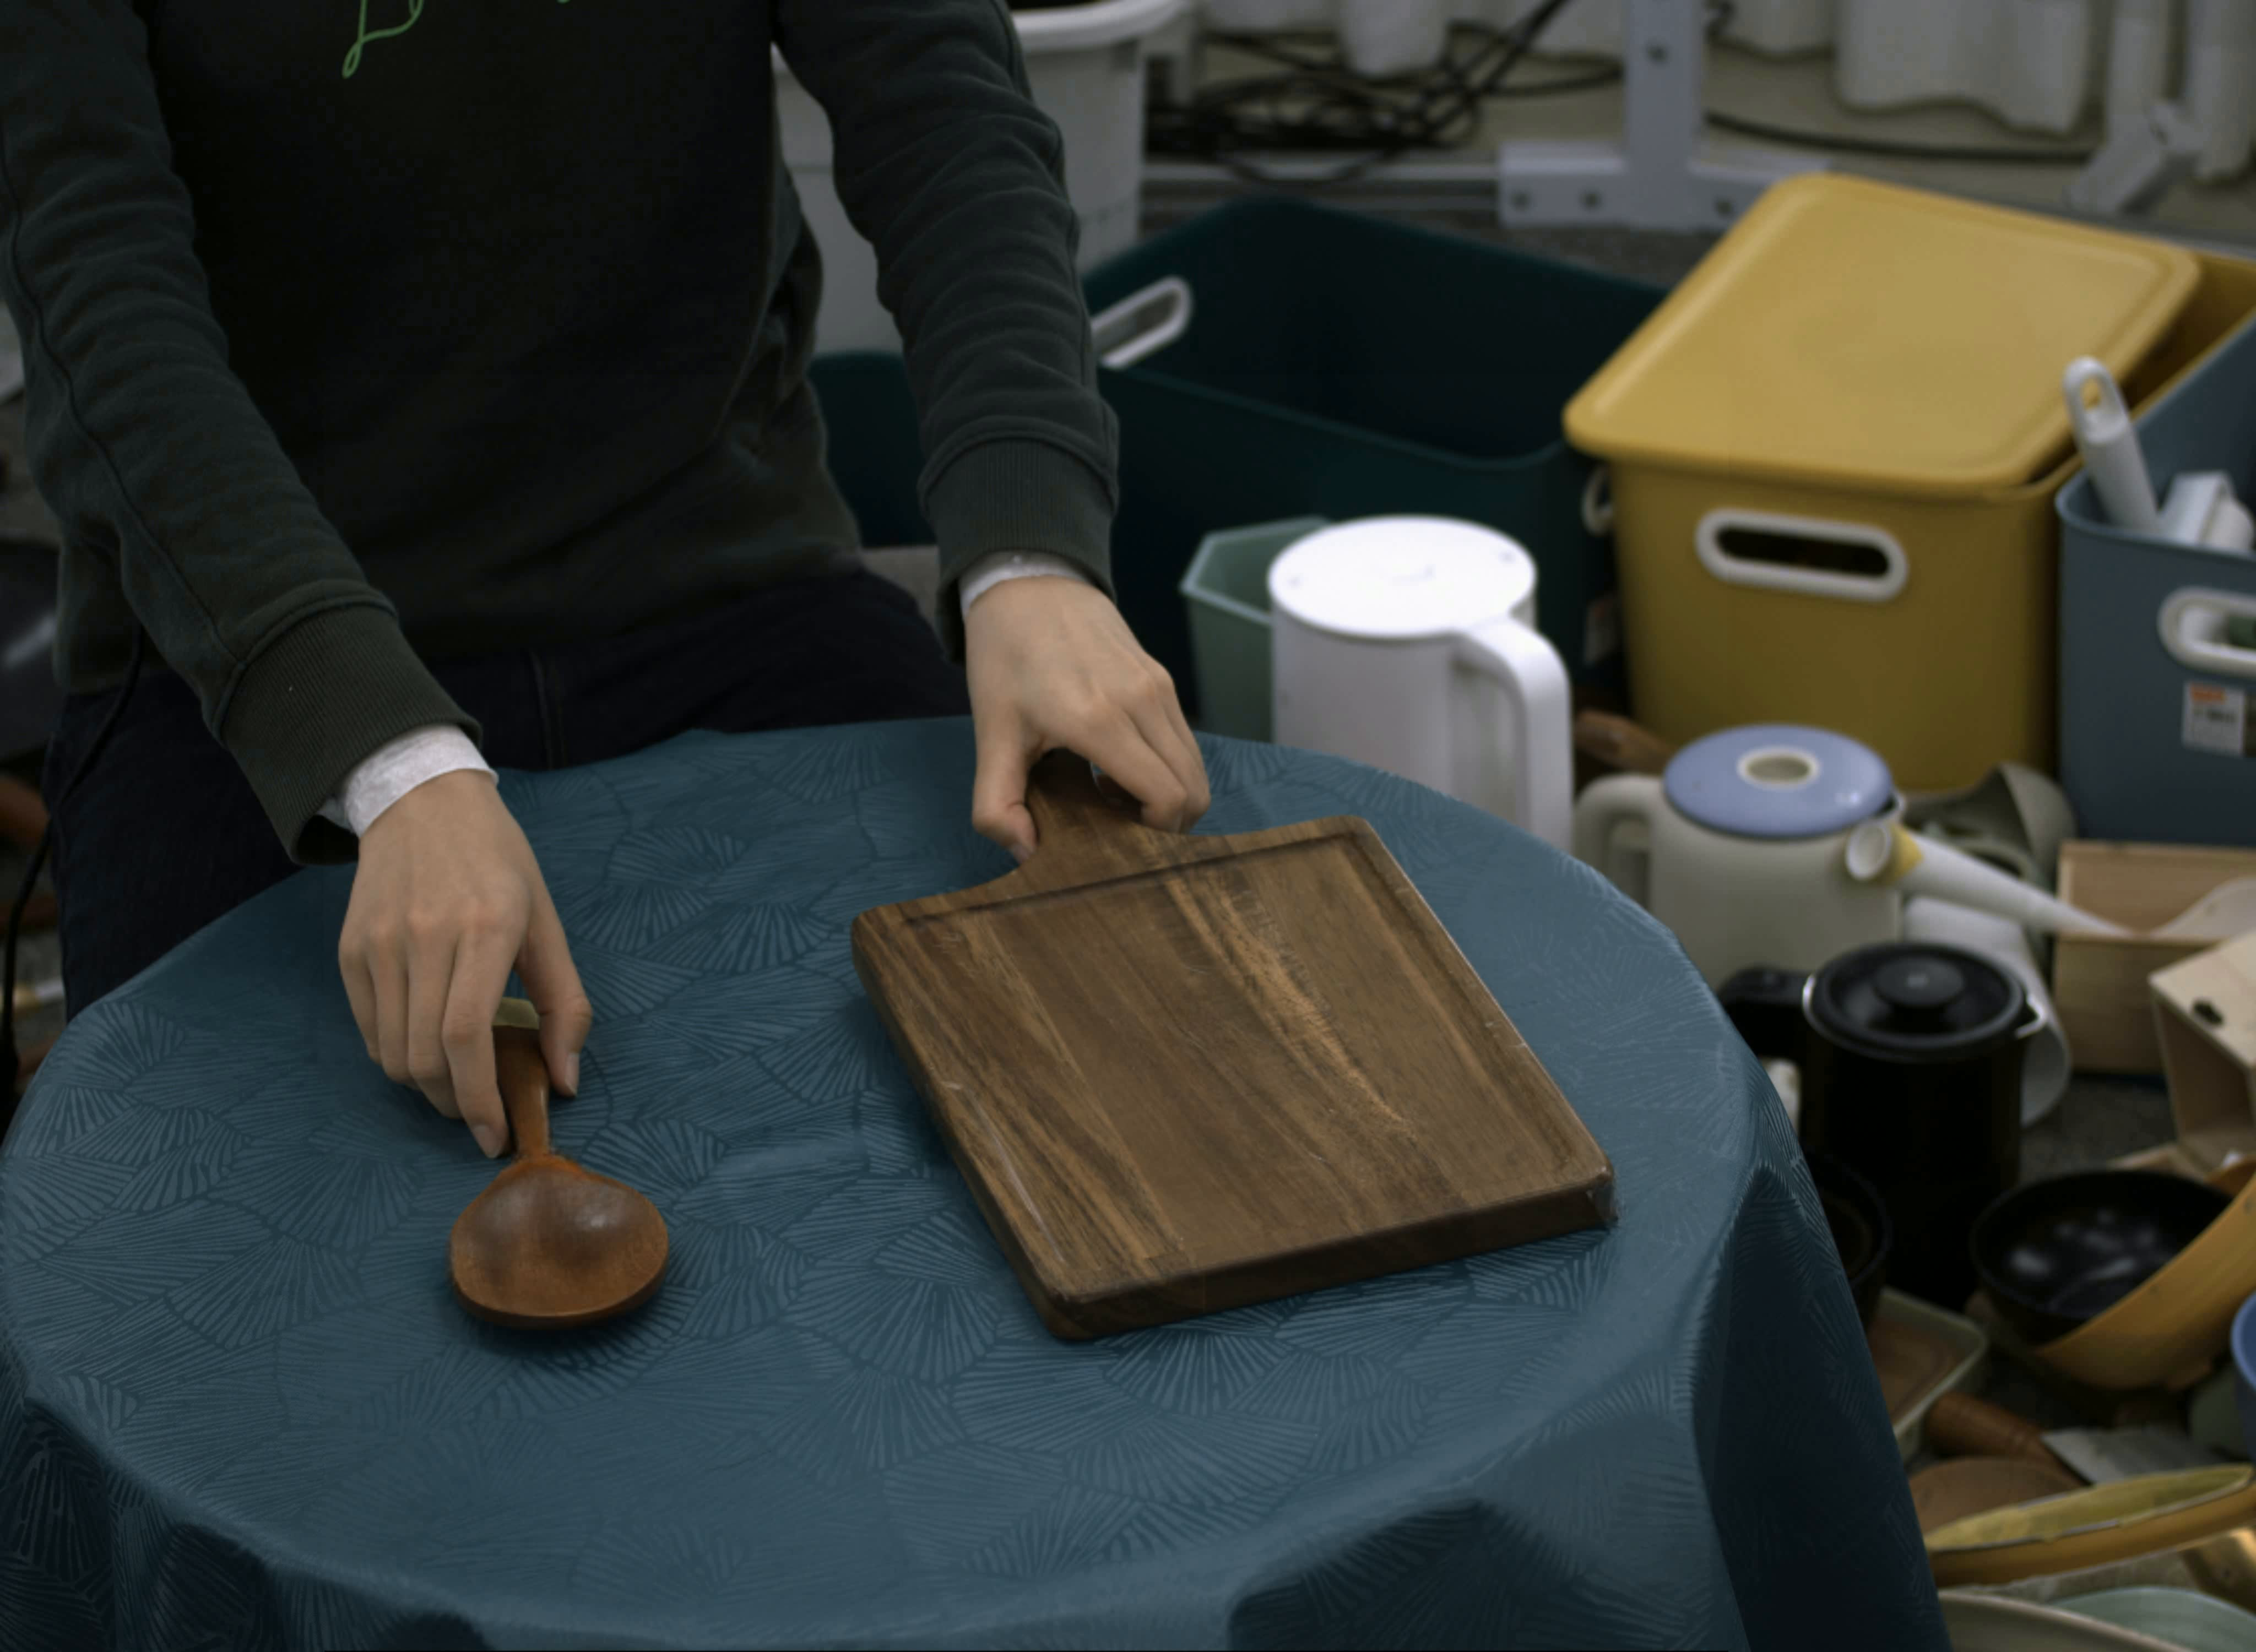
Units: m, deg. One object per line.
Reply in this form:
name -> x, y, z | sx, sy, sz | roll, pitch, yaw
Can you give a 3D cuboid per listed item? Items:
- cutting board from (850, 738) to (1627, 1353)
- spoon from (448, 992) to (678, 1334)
cutting board -> 0.017, 0.059, 1.944 | 0.201, 0.023, 0.356 | -12, 31, -14
spoon -> -0.196, 0.113, 1.877 | 0.075, 0.017, 0.218 | -9, 29, -8
